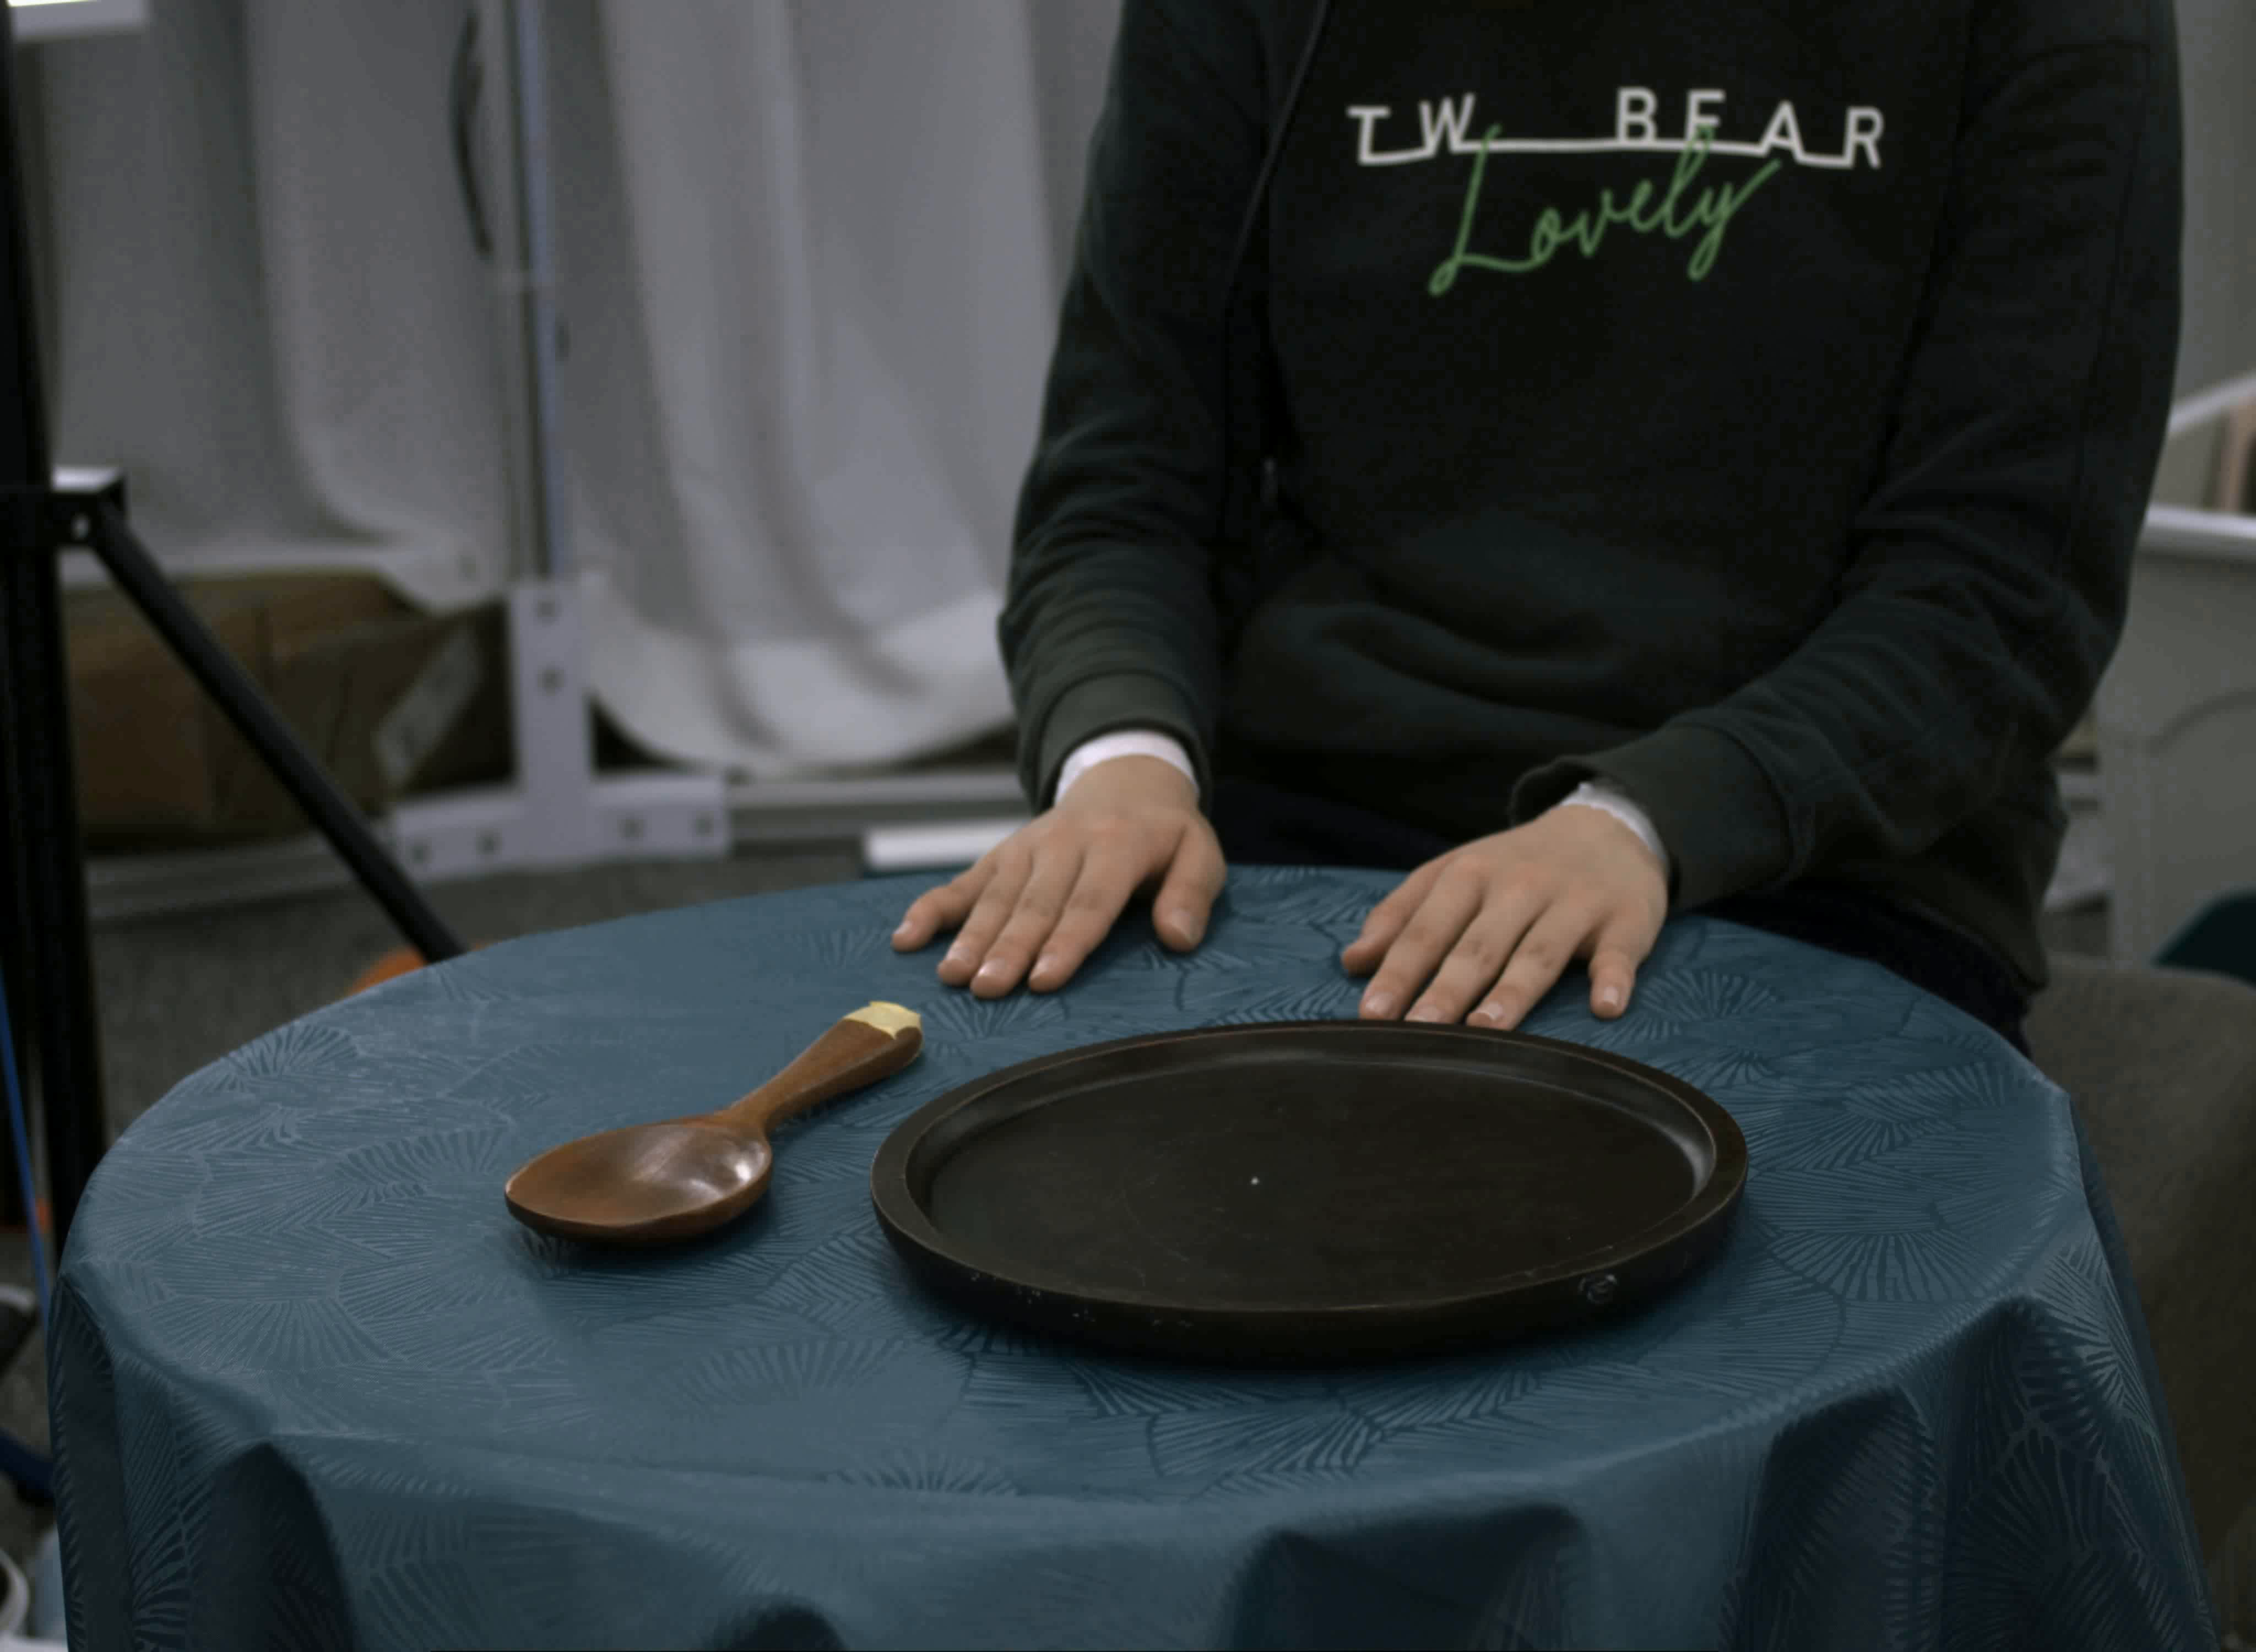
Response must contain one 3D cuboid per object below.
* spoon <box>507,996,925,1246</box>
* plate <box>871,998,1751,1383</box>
[{"bbox_3d":[-0.115,0.090,1.608,0.076,0.017,0.213,4,17,24],"label":"spoon"},{"bbox_3d":[0.052,0.105,1.521,0.253,0.029,0.256,-3,17,-1],"label":"plate"}]
